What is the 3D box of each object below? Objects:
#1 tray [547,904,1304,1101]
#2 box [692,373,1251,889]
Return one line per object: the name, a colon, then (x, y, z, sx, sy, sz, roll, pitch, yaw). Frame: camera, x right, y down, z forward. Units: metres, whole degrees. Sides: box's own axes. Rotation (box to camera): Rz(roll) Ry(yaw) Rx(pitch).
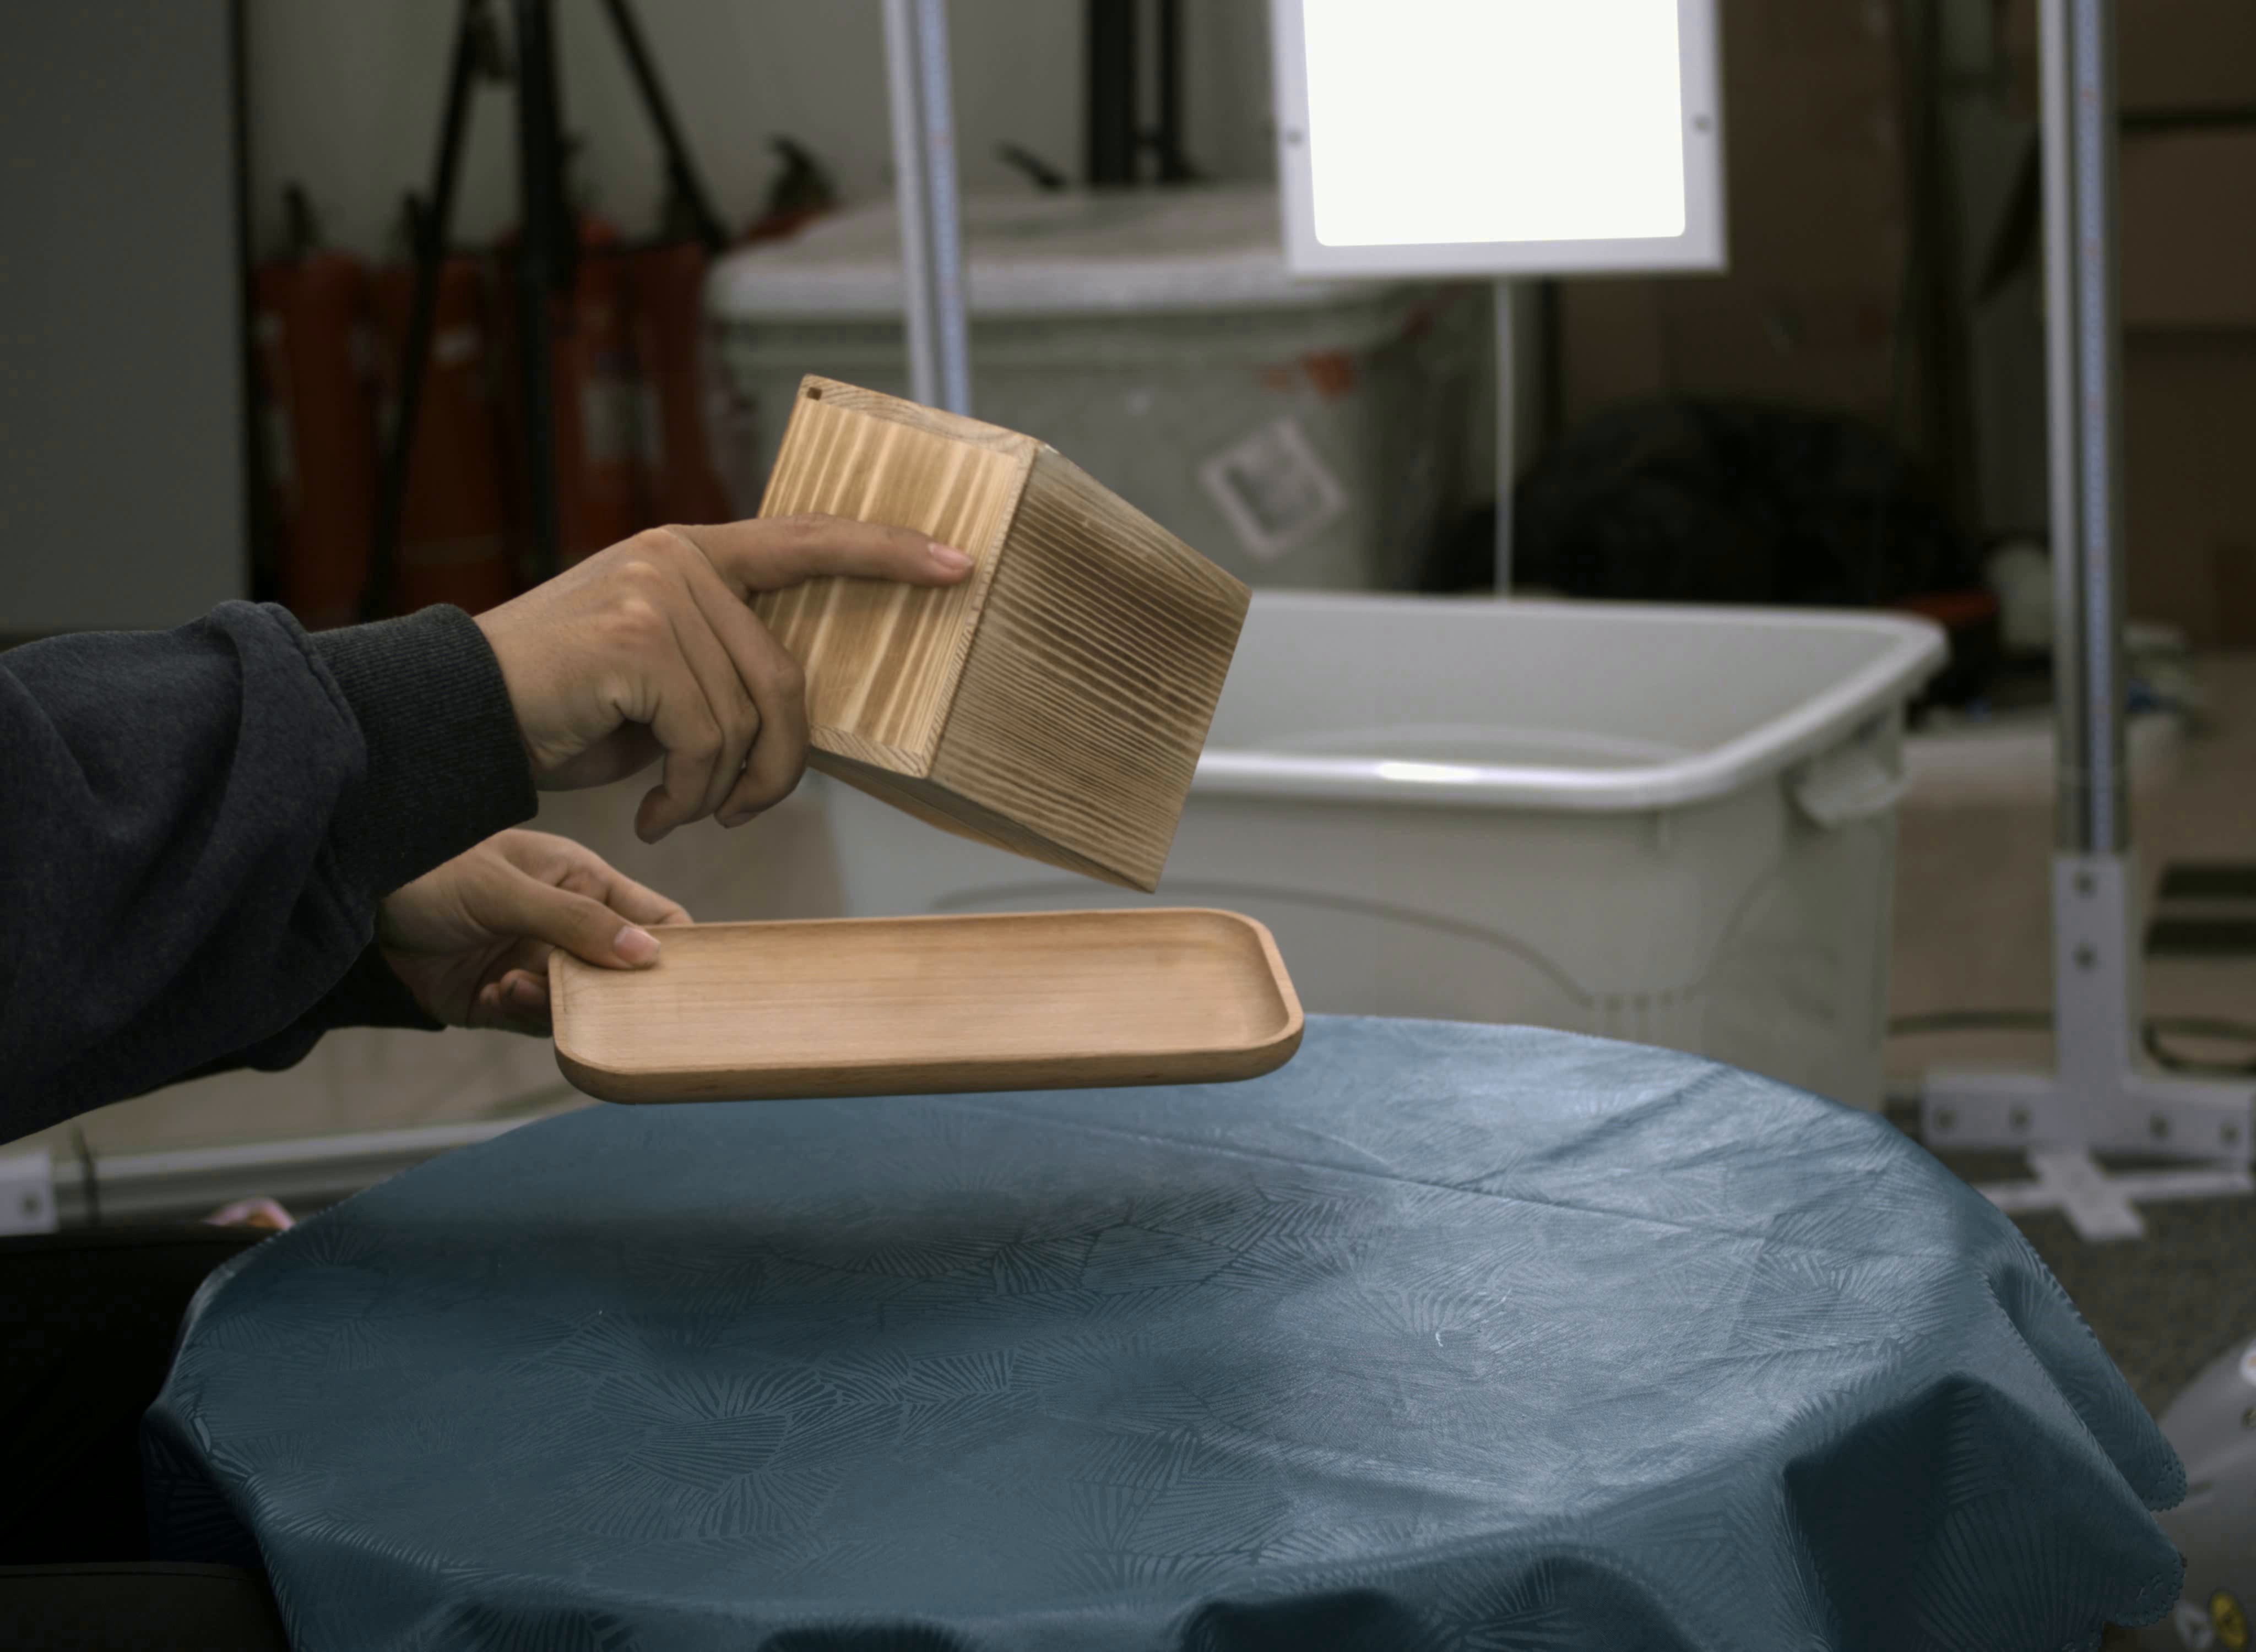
tray: (-0.069, 0.059, 1.856, 0.249, 0.023, 0.131, -2, 19, -4)
box: (-0.044, -0.056, 1.694, 0.081, 0.107, 0.208, 17, -3, 21)
